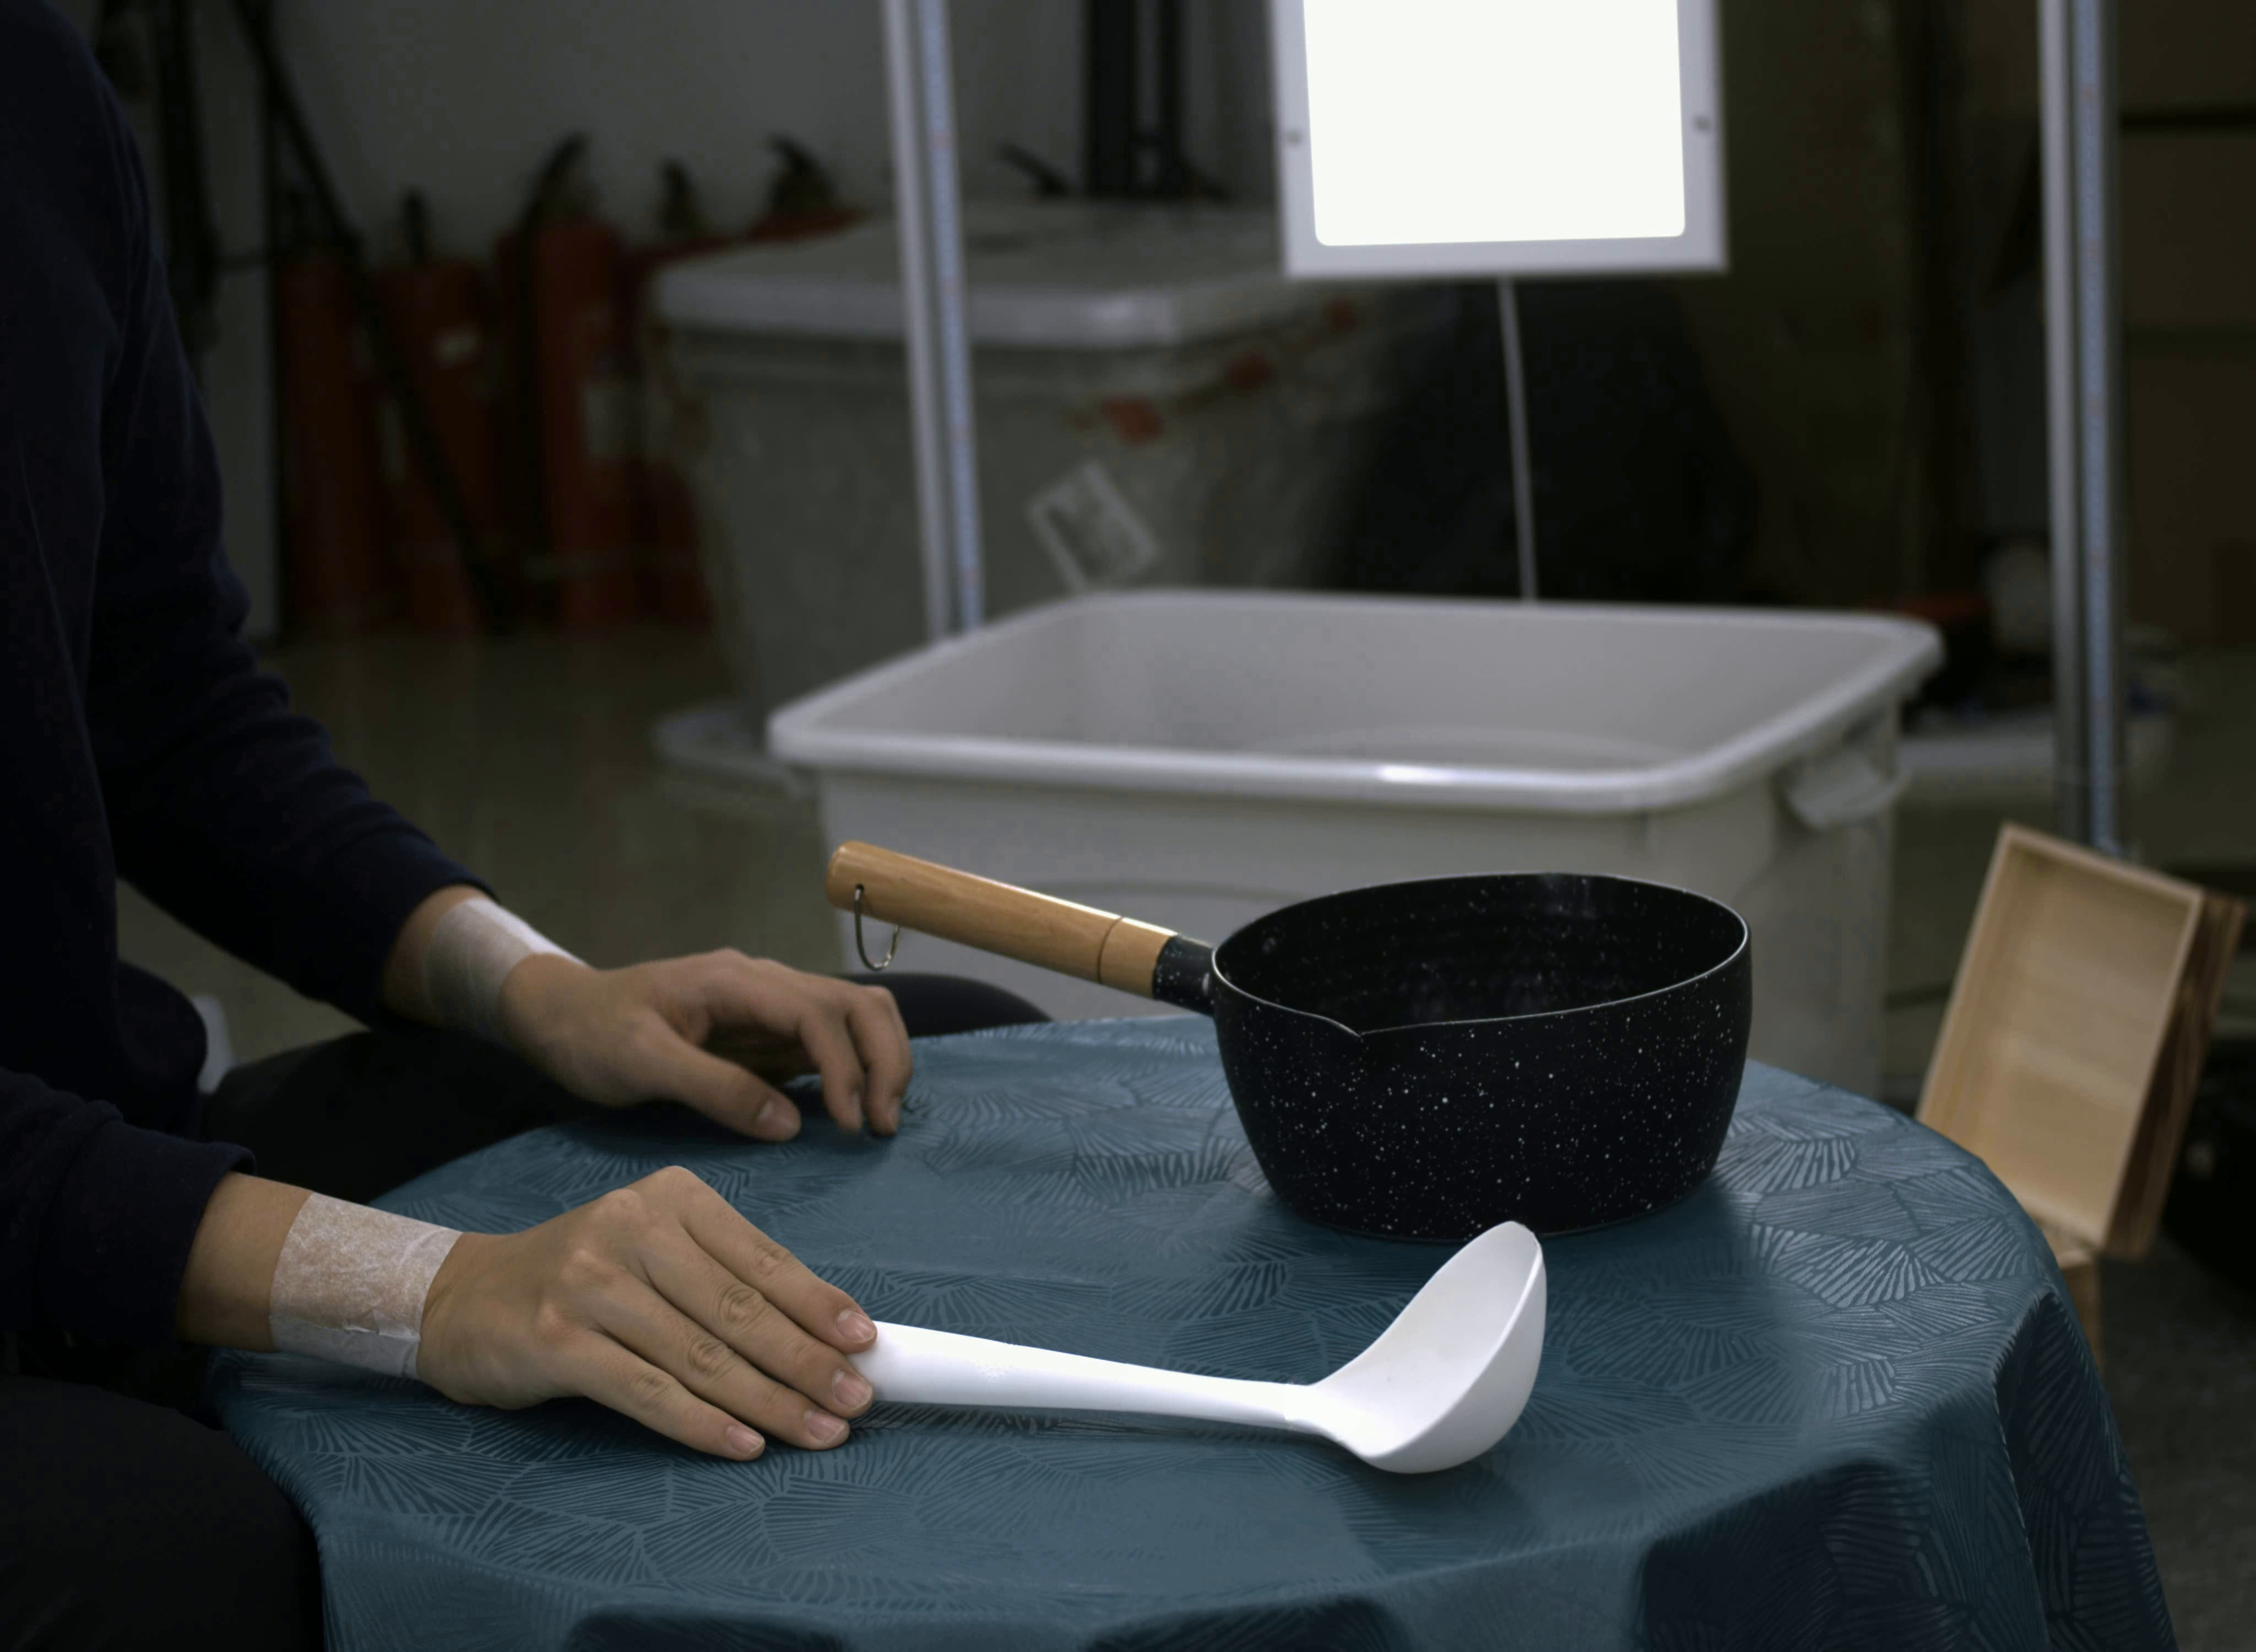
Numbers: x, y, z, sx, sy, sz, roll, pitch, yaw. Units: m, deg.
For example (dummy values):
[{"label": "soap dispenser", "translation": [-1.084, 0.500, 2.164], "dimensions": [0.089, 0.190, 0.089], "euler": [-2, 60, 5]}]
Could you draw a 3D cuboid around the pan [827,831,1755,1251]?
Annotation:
[{"label": "pan", "translation": [0.050, 0.065, 1.901], "dimensions": [0.348, 0.108, 0.203], "euler": [3, 17, 26]}]

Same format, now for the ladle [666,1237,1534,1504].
[{"label": "ladle", "translation": [-0.012, 0.161, 1.652], "dimensions": [0.298, 0.069, 0.089], "euler": [1, 48, 27]}]
